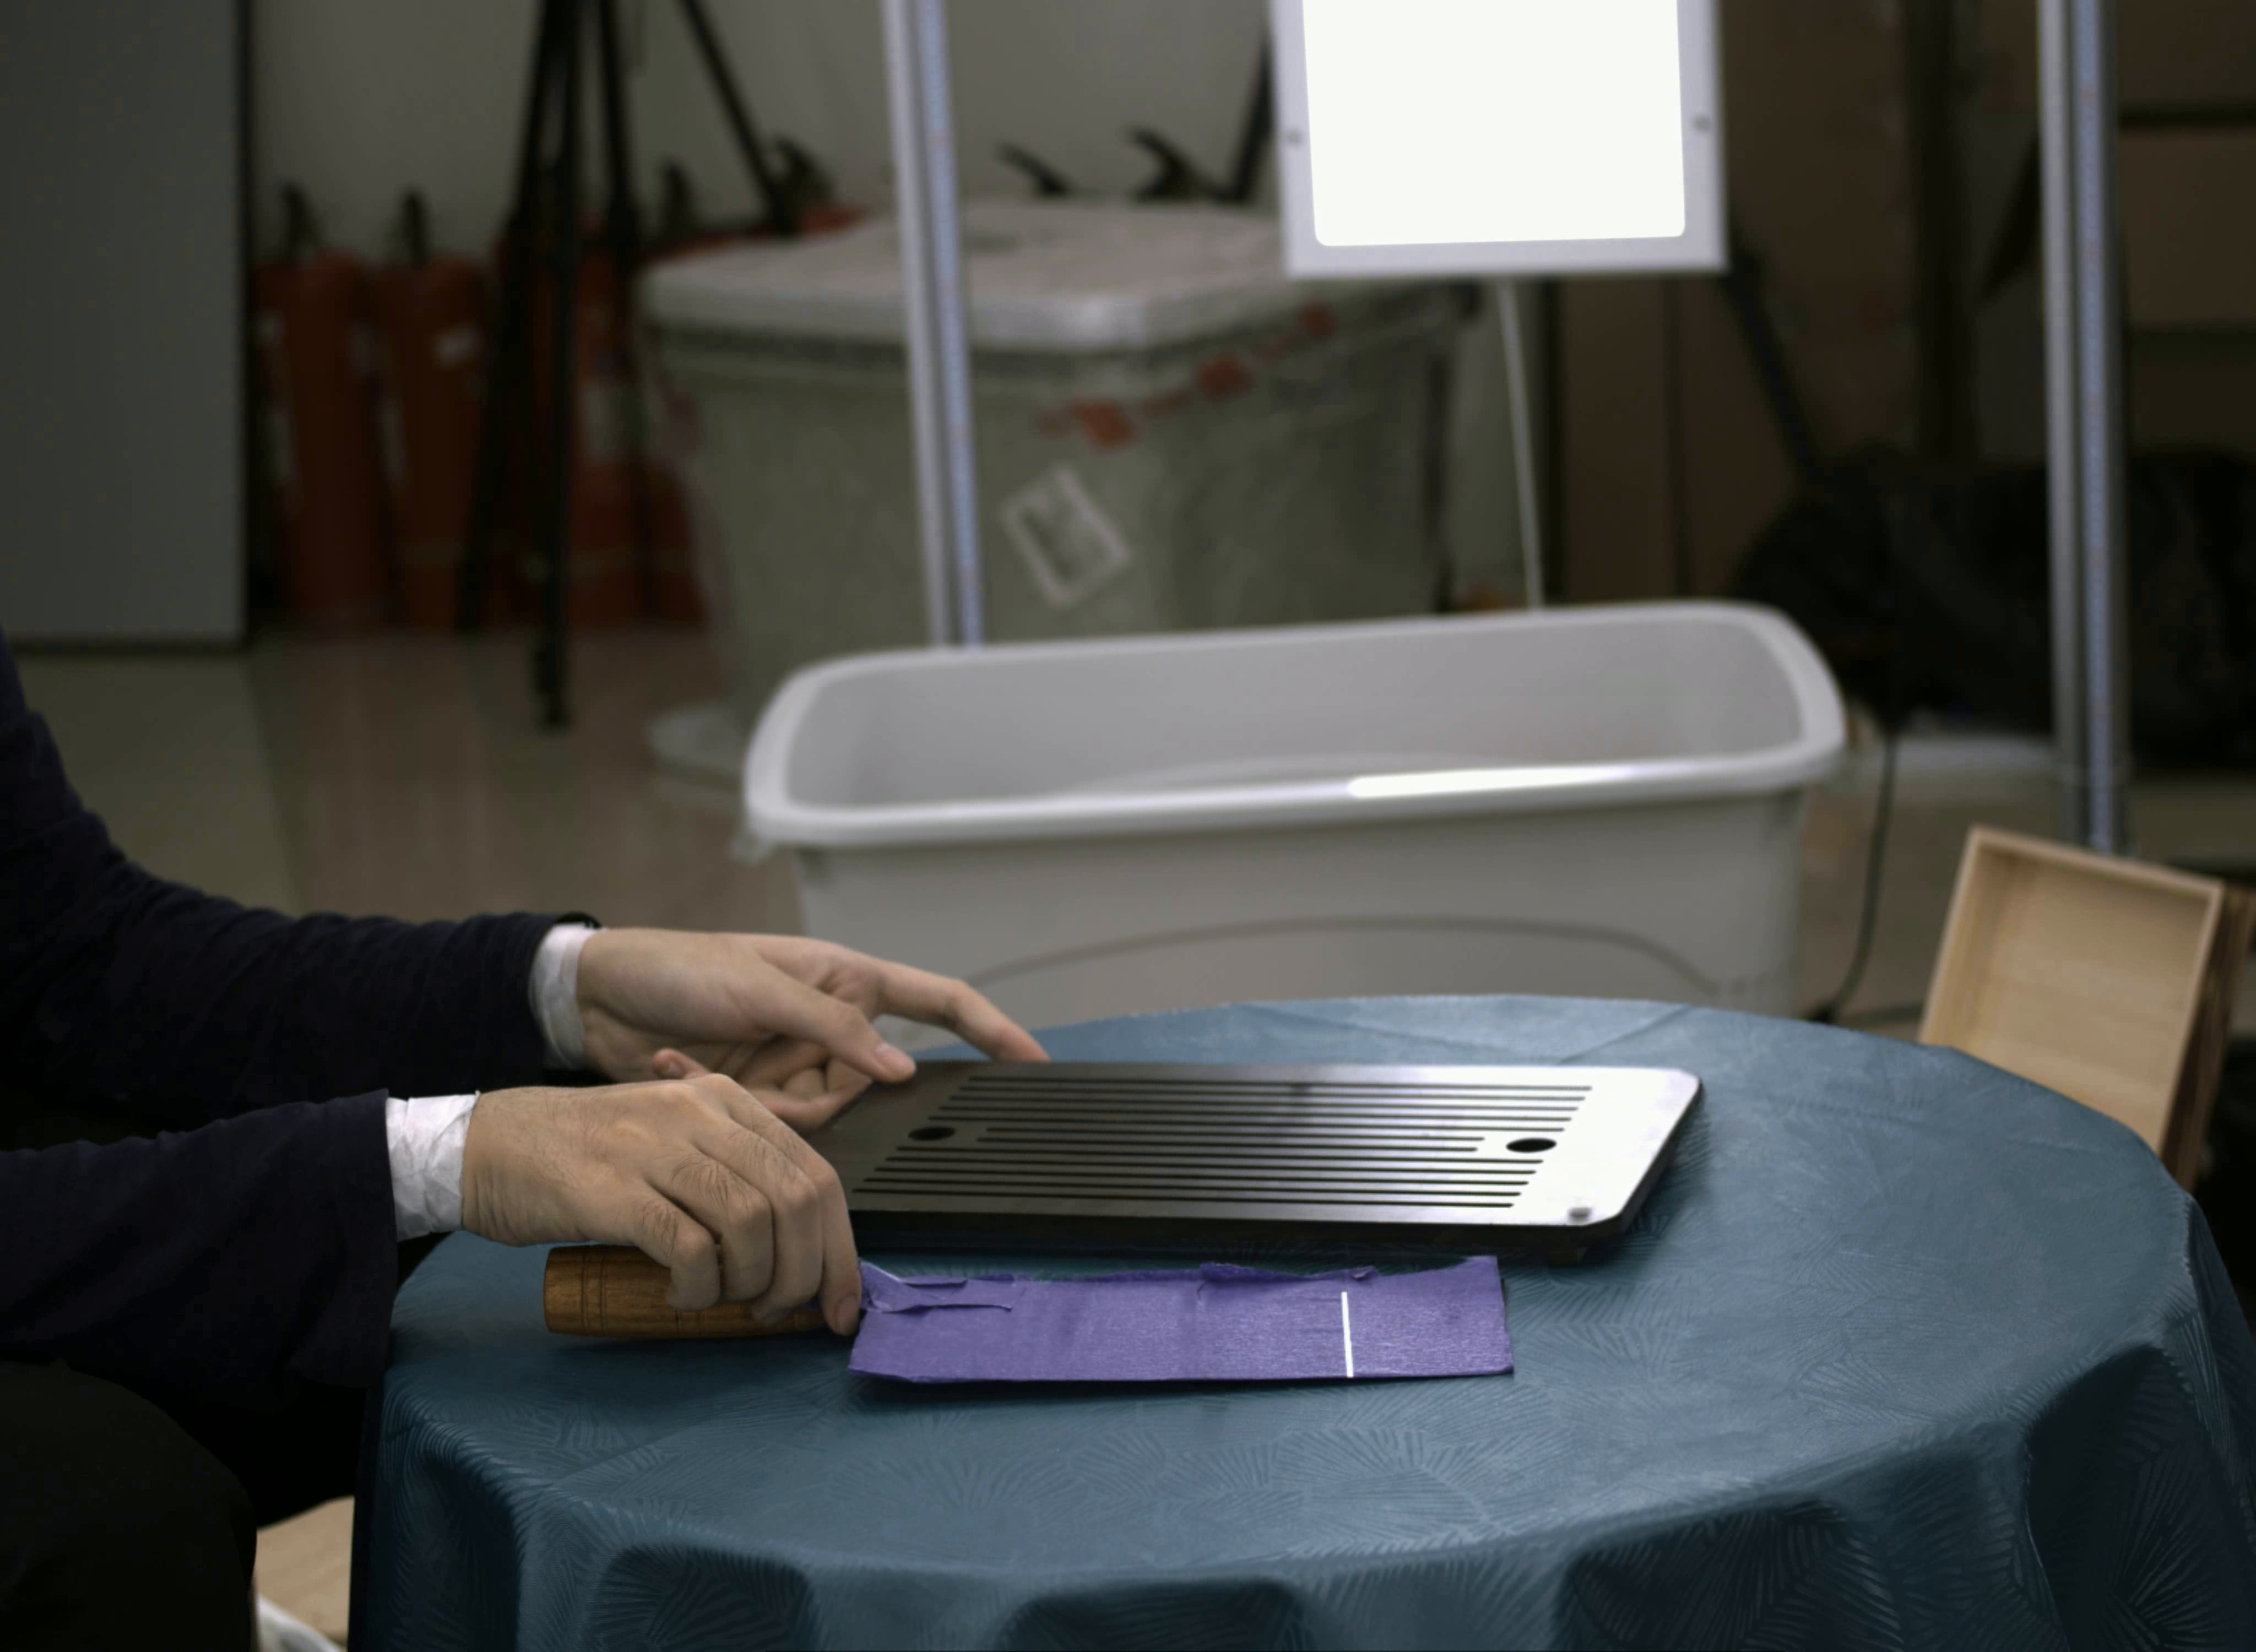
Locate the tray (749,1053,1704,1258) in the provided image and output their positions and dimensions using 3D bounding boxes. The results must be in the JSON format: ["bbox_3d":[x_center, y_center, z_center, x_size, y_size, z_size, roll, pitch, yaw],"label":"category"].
[{"bbox_3d":[0.037,0.113,1.900,0.310,0.019,0.167,-1,16,19],"label":"tray"}]

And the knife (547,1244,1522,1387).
[{"bbox_3d":[-0.033,0.154,1.745,0.316,0.032,0.103,-3,13,6],"label":"knife"}]
